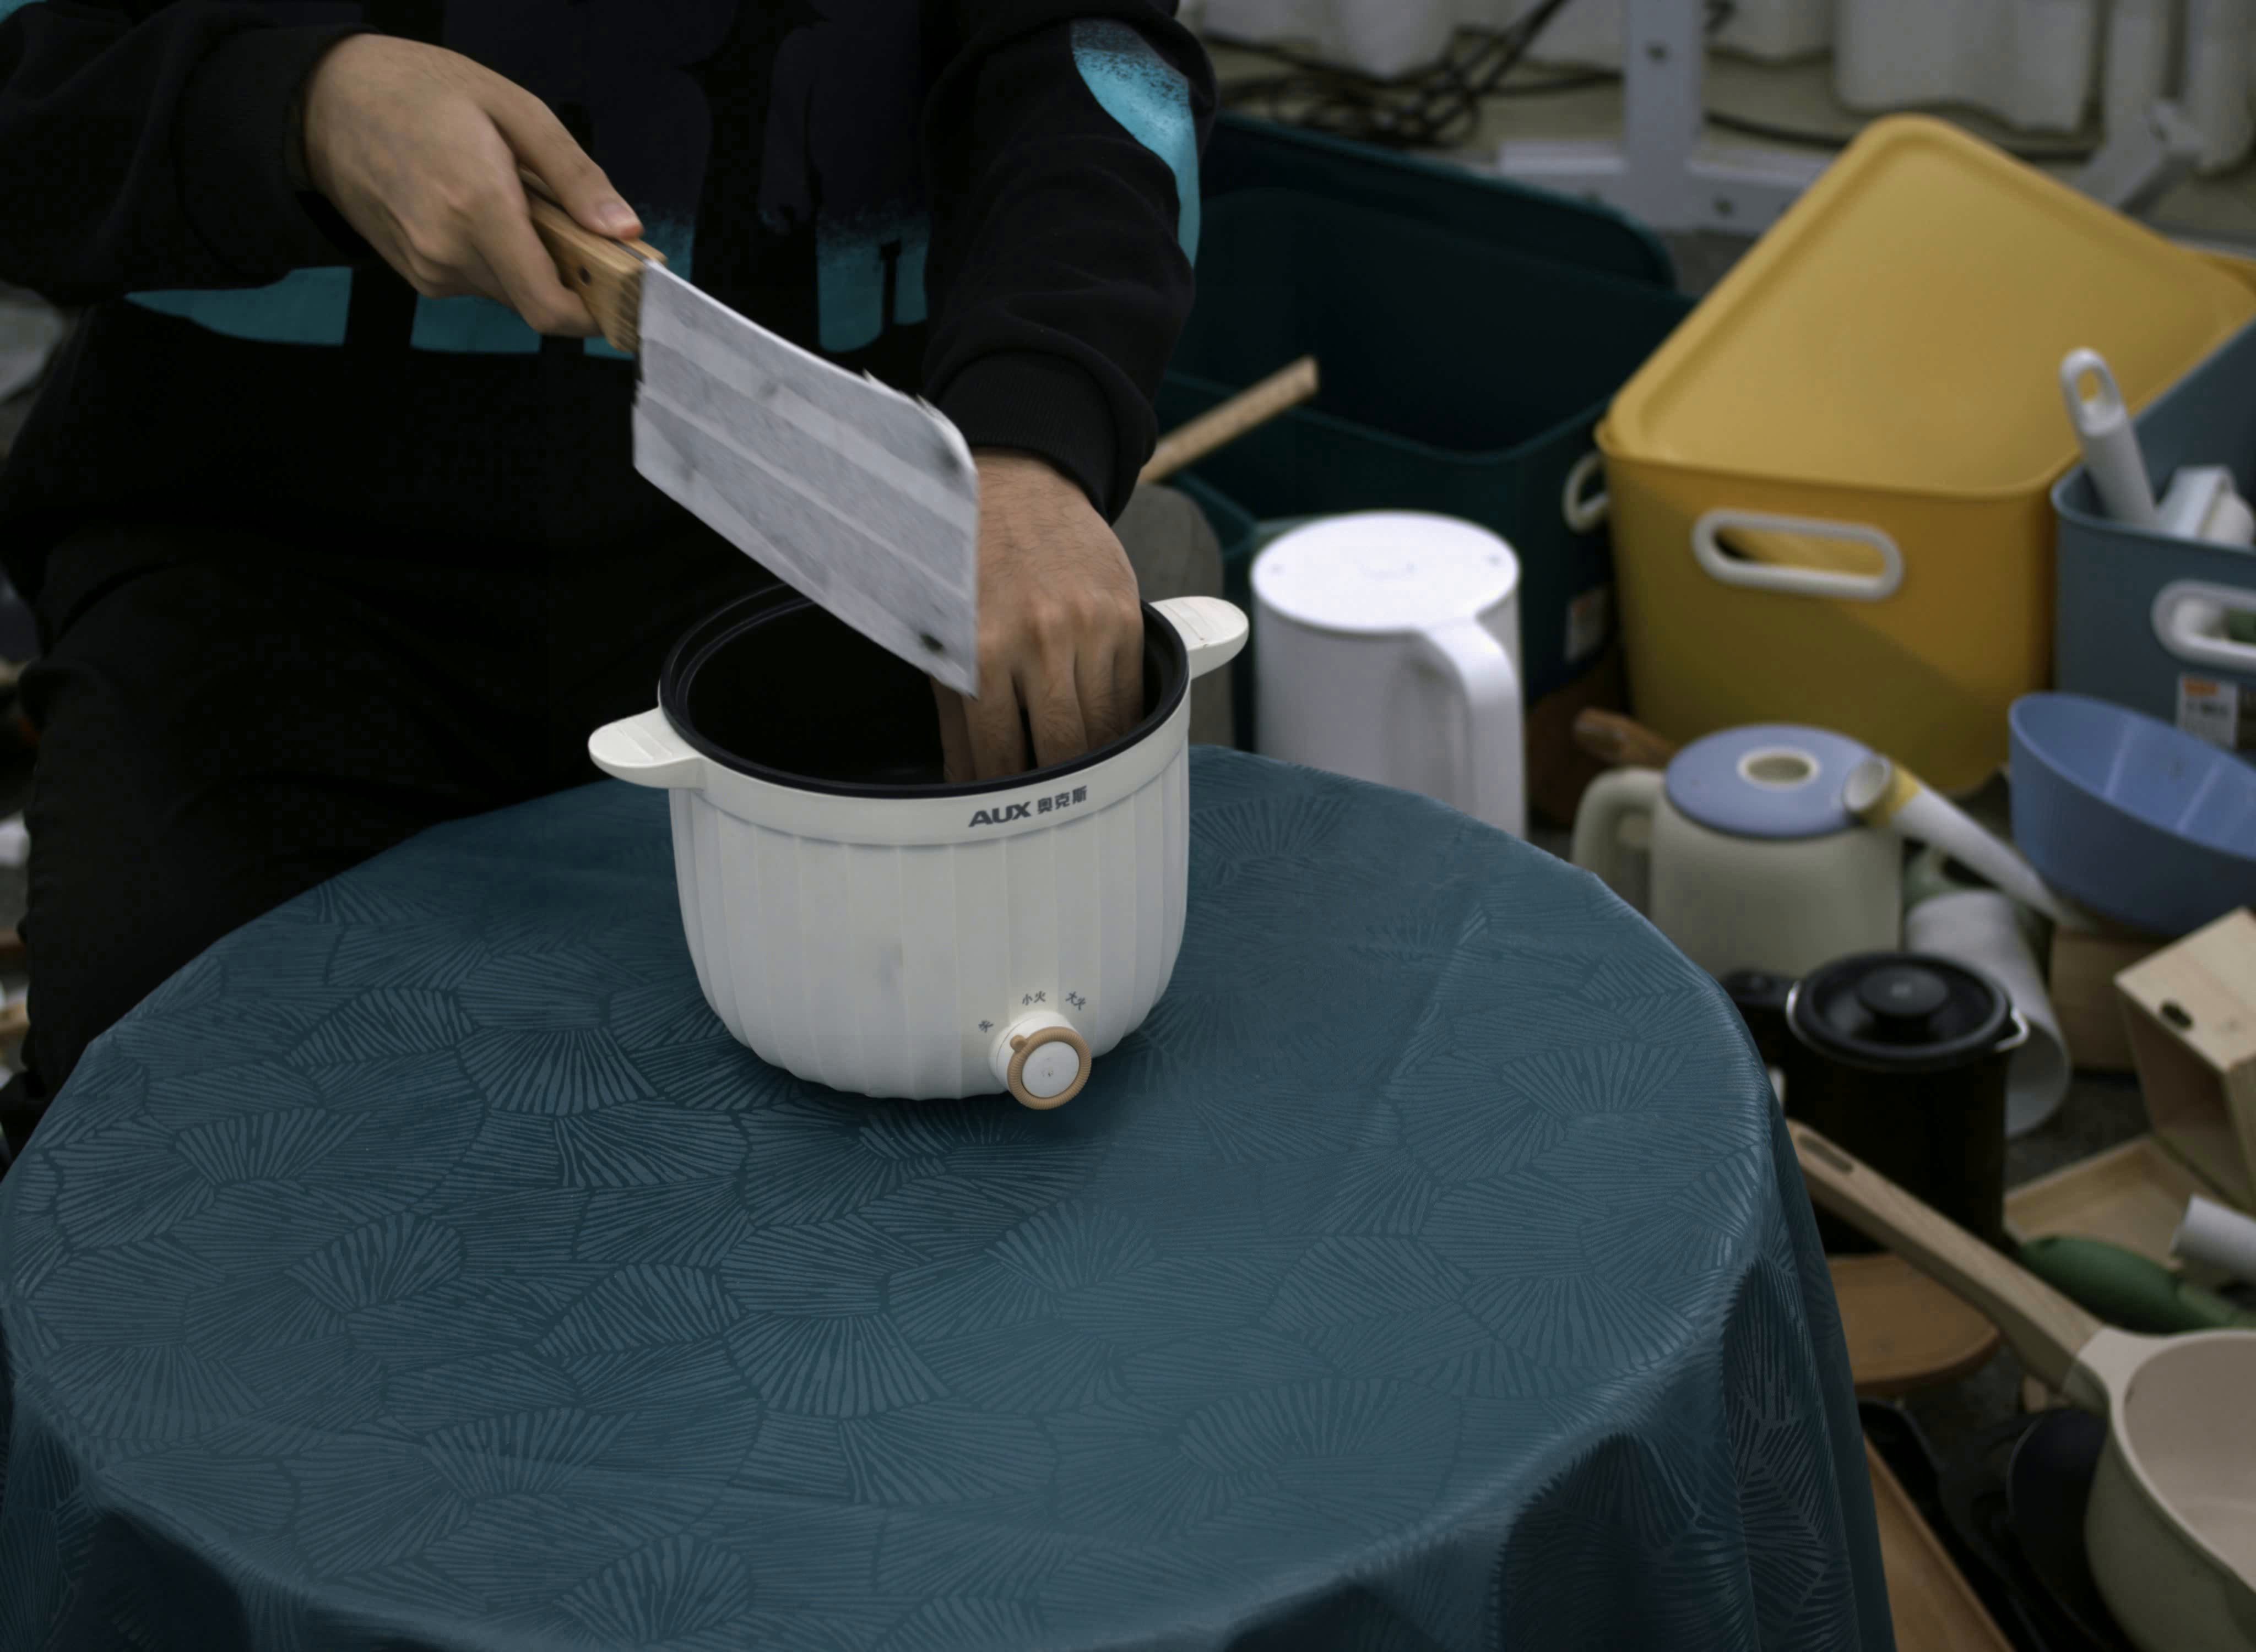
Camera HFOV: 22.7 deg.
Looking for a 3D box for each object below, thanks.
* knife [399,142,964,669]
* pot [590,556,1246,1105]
[{"bbox_3d":[-0.153,-0.159,1.934,0.022,0.112,0.316,-21,43,-36],"label":"knife"},{"bbox_3d":[-0.064,0.007,1.938,0.241,0.141,0.191,-14,26,-21],"label":"pot"}]
